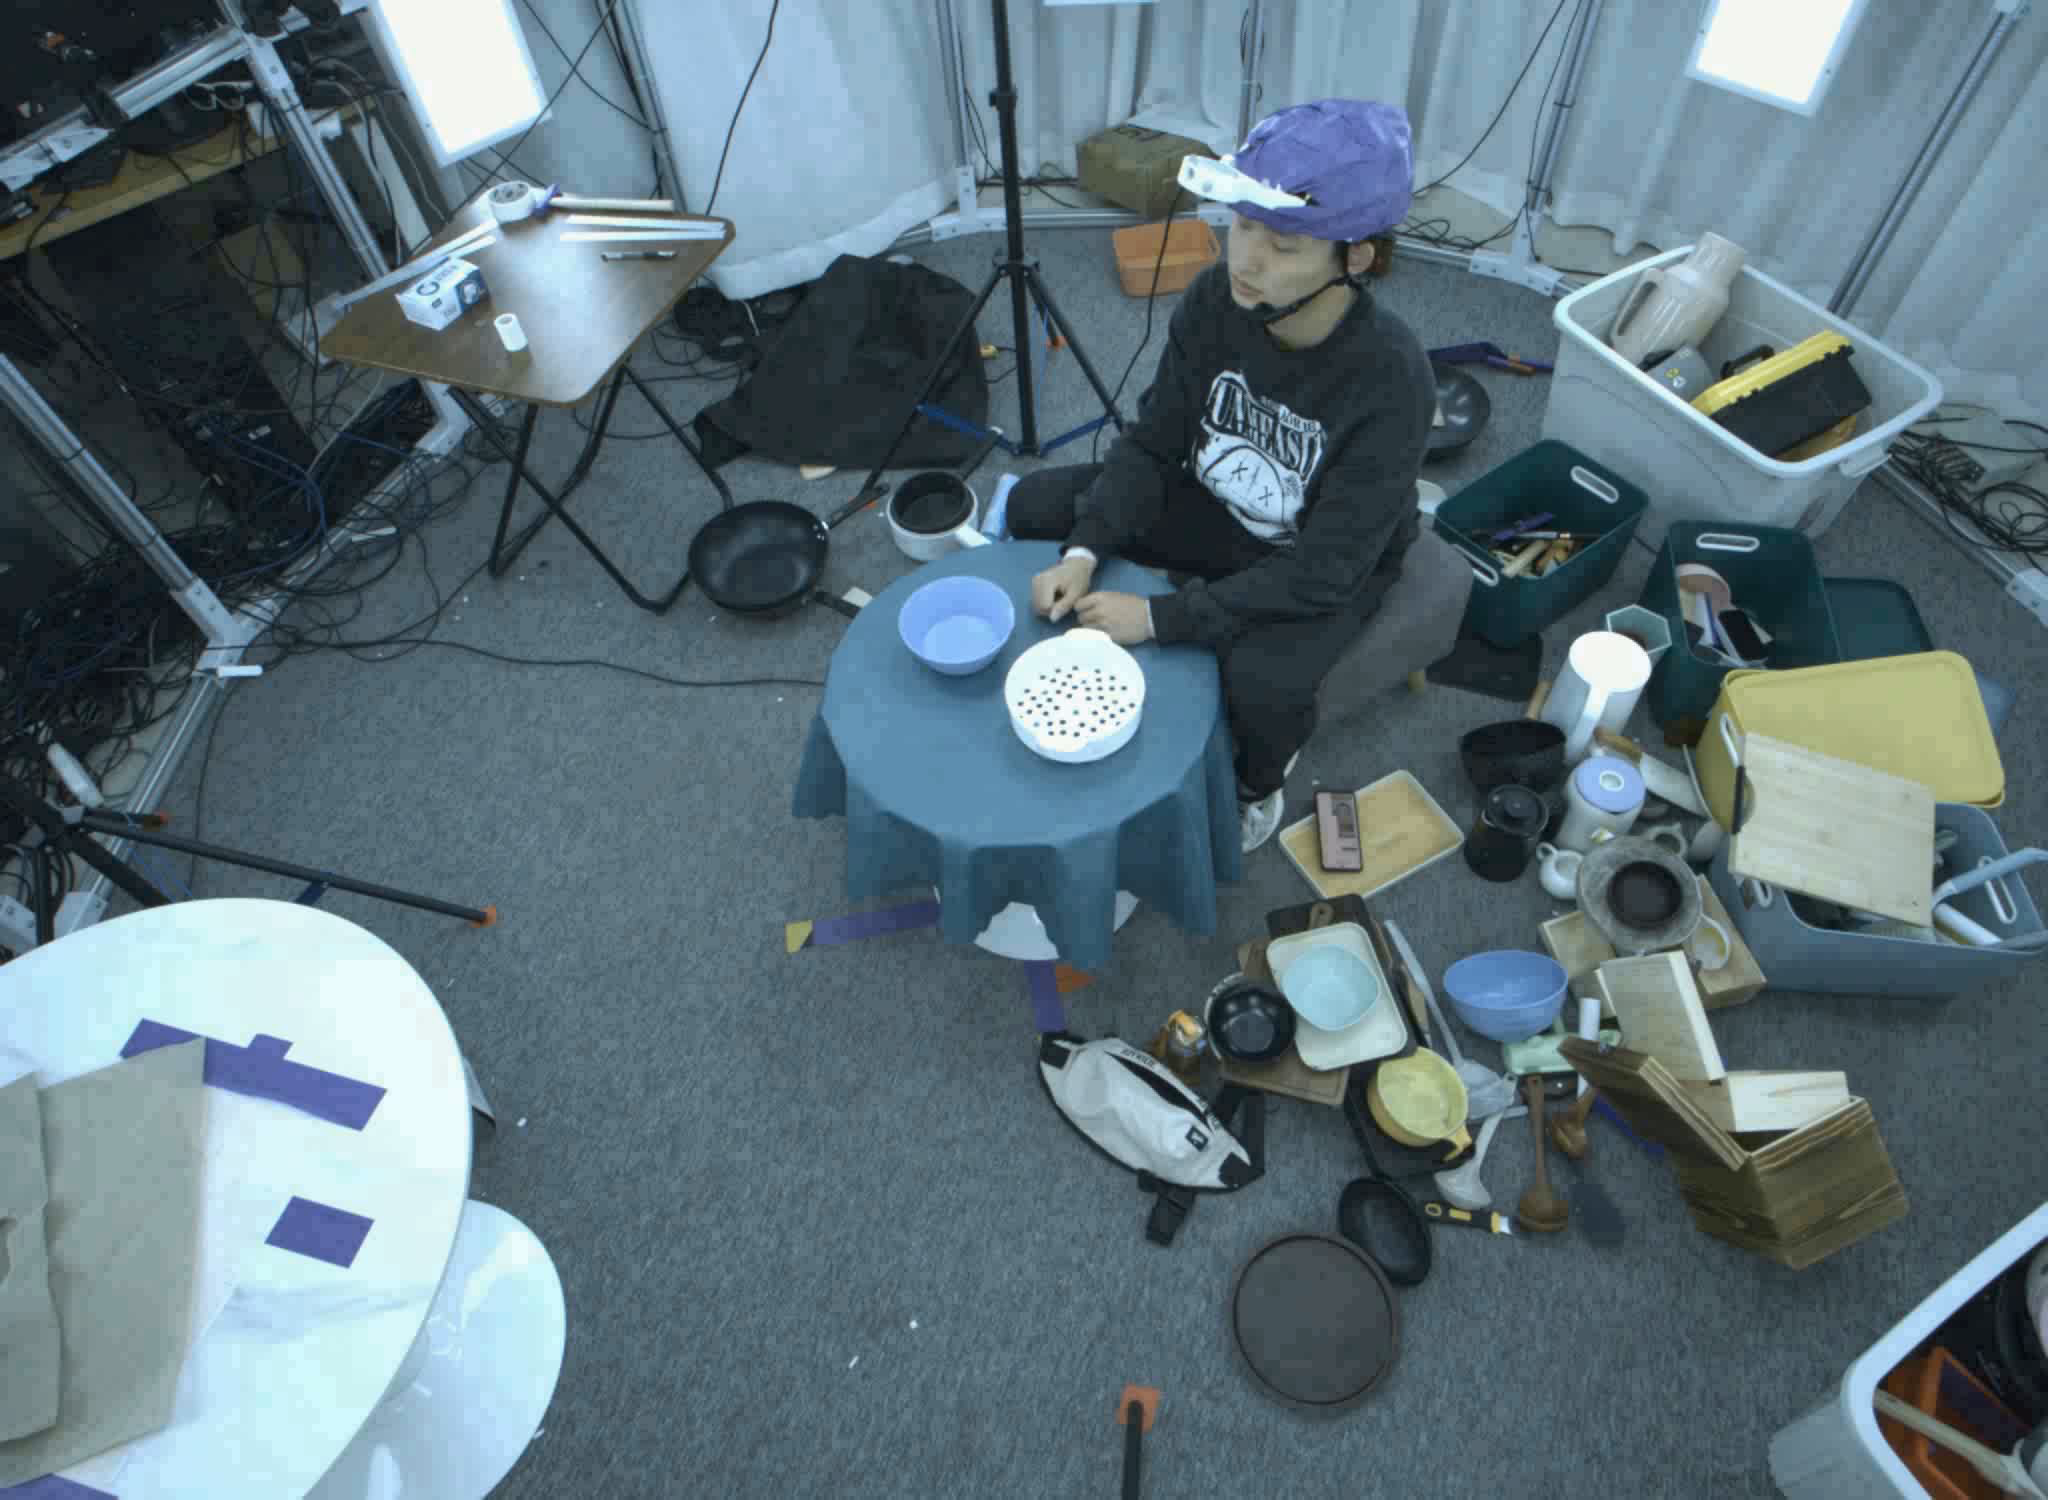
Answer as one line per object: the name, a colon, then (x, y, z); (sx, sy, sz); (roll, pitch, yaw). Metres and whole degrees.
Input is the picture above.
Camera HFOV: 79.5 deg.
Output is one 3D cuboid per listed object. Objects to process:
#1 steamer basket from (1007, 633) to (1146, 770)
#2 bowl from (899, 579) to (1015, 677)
steamer basket: (0.077, -0.065, 1.799); (0.201, 0.070, 0.229); (8, 58, 8)
bowl: (-0.100, -0.177, 1.882); (0.176, 0.071, 0.174); (0, 55, 1)
